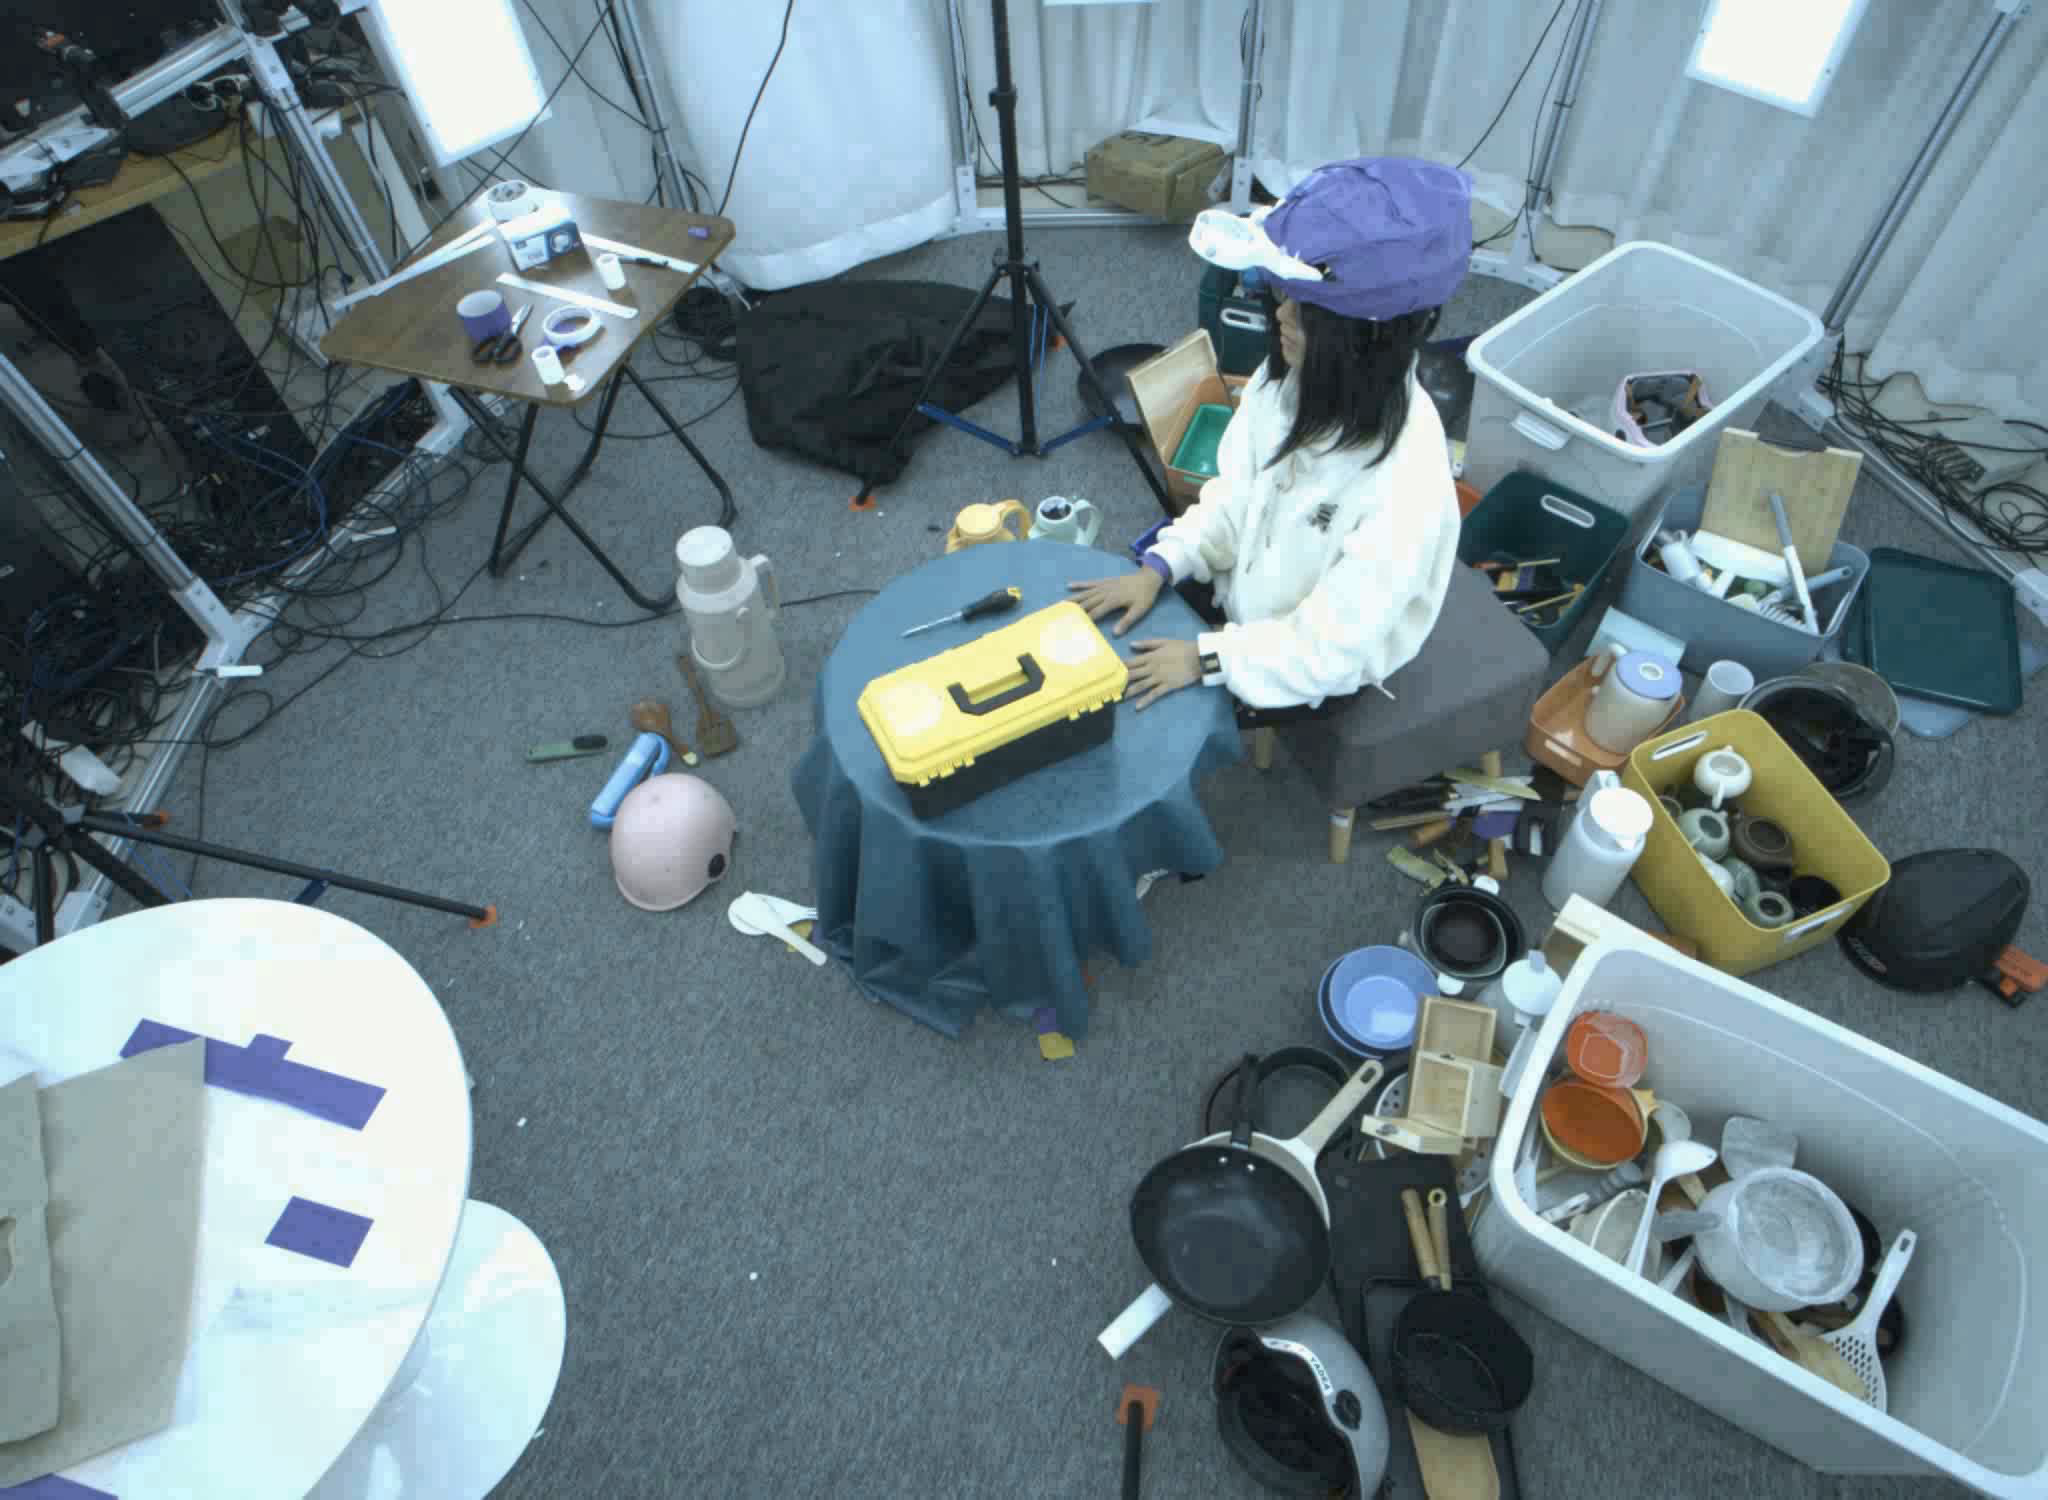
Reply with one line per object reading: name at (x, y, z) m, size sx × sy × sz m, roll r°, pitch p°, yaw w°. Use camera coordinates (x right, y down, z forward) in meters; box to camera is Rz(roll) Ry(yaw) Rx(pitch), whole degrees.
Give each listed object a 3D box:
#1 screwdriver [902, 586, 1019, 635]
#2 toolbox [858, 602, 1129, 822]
screwdriver at (-0.102, -0.220, 1.927) m, size 0.197 × 0.032 × 0.031 m, roll -18°, pitch 56°, yaw -9°
toolbox at (-0.039, -0.052, 1.719) m, size 0.354 × 0.175 × 0.178 m, roll -24°, pitch 57°, yaw -14°
